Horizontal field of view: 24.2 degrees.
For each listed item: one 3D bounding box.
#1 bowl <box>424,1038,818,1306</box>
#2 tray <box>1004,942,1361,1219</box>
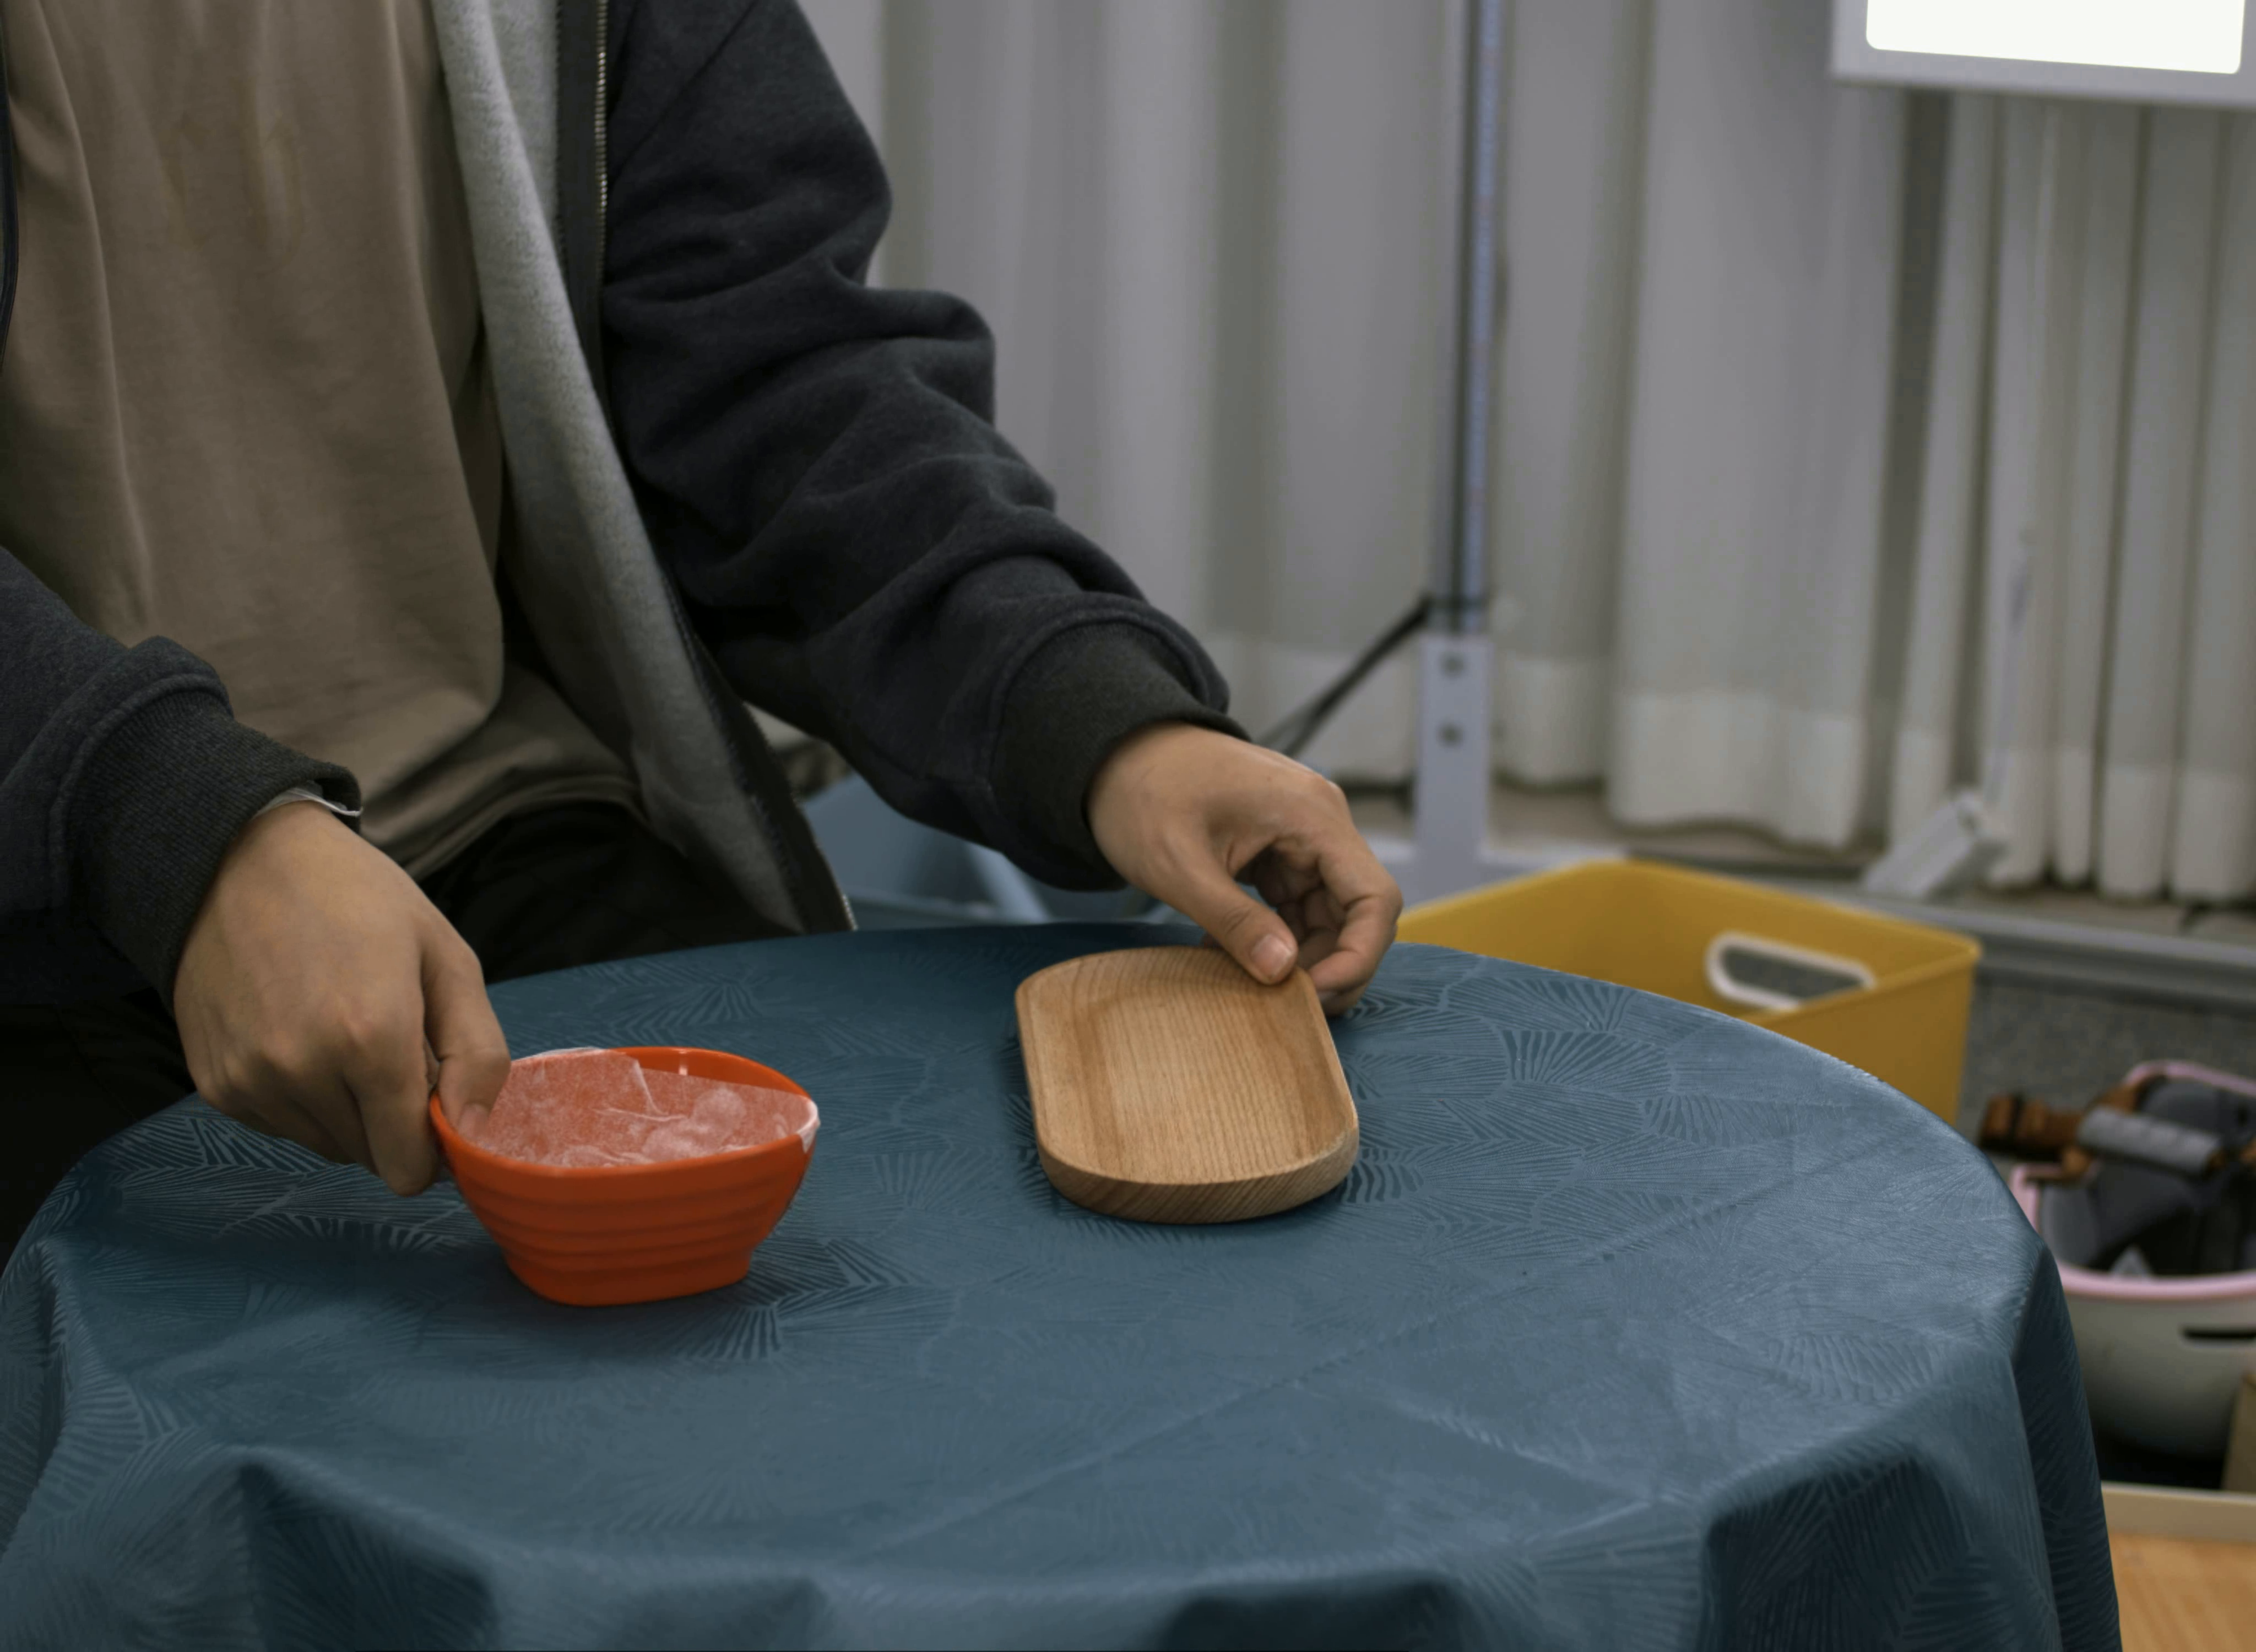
[{"bbox_3d":[-0.149,0.104,1.548,0.118,0.052,0.118,0,17,0],"label":"bowl"},{"bbox_3d":[0.016,0.080,1.700,0.101,0.020,0.229,-3,16,-5],"label":"tray"}]
